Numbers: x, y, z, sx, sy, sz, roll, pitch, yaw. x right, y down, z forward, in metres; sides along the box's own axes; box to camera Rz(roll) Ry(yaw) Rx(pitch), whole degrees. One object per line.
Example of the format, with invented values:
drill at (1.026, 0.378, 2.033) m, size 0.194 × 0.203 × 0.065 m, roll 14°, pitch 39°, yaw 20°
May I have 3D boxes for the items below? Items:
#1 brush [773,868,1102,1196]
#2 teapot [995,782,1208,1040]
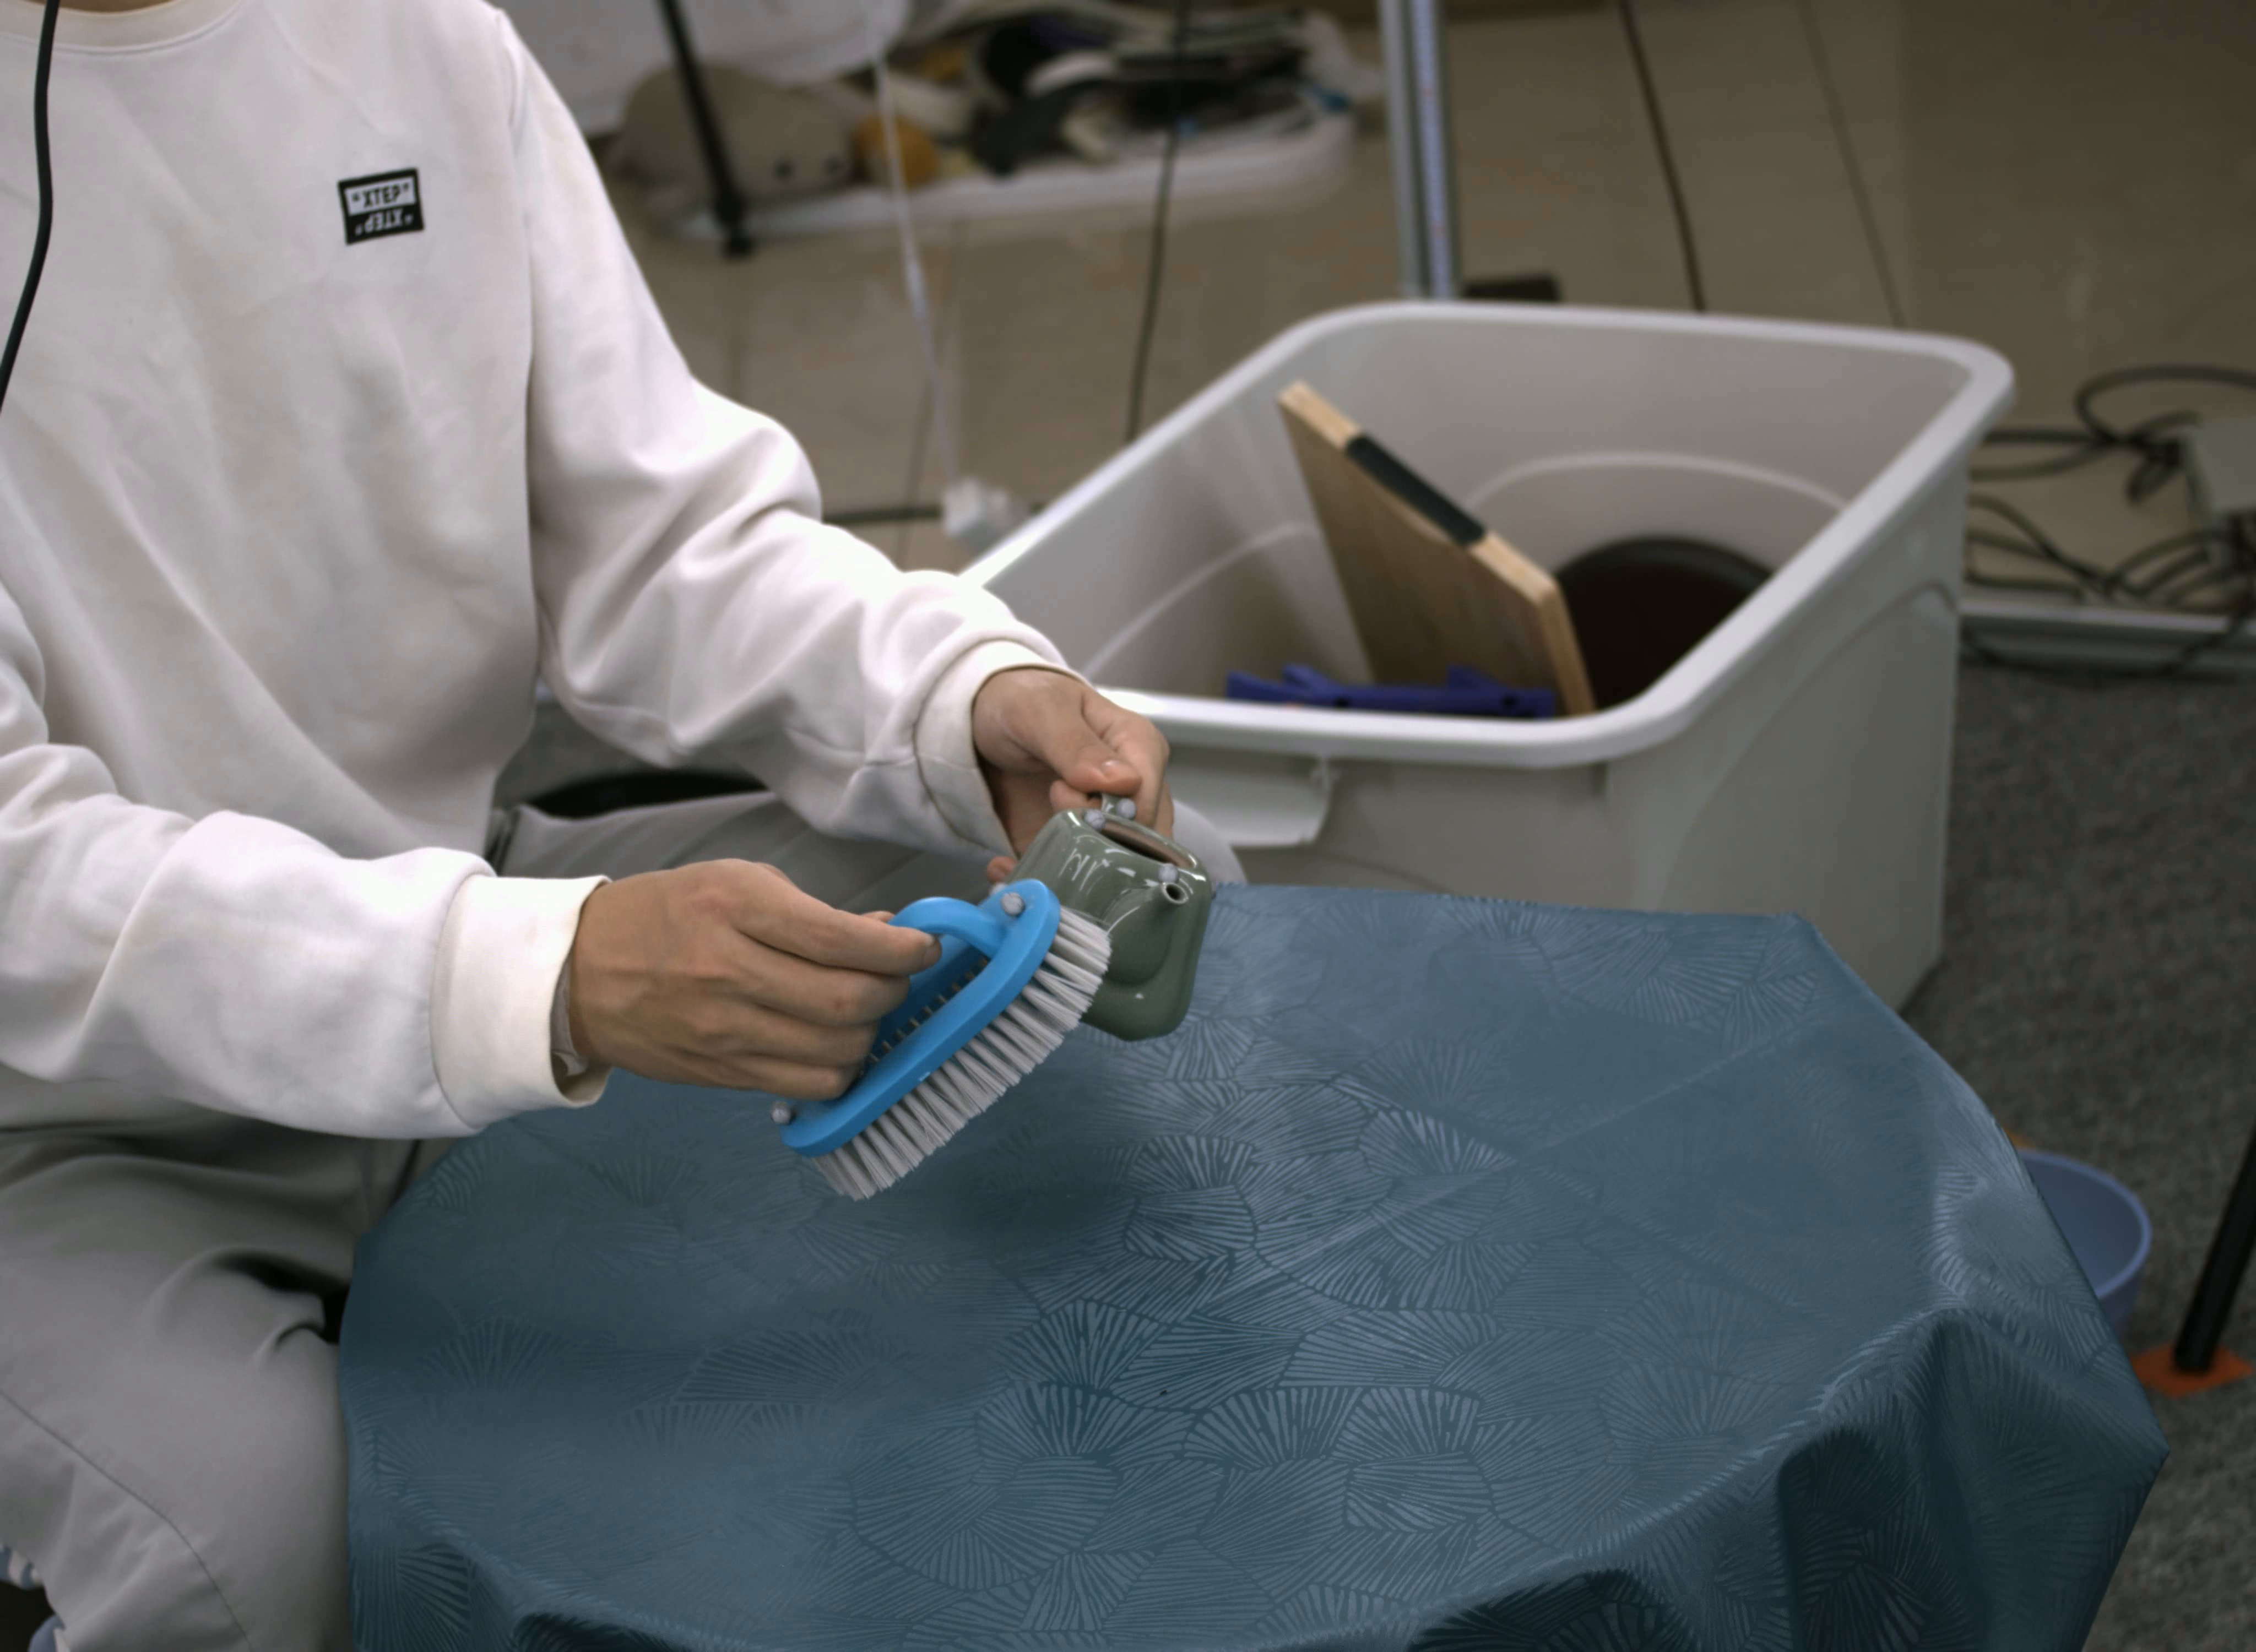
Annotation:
brush at (-0.079, 0.068, 2.038) m, size 0.143 × 0.064 × 0.083 m, roll -40°, pitch 28°, yaw 22°
teapot at (-0.010, 0.033, 2.139) m, size 0.080 × 0.076 × 0.131 m, roll 21°, pitch 13°, yaw -19°
